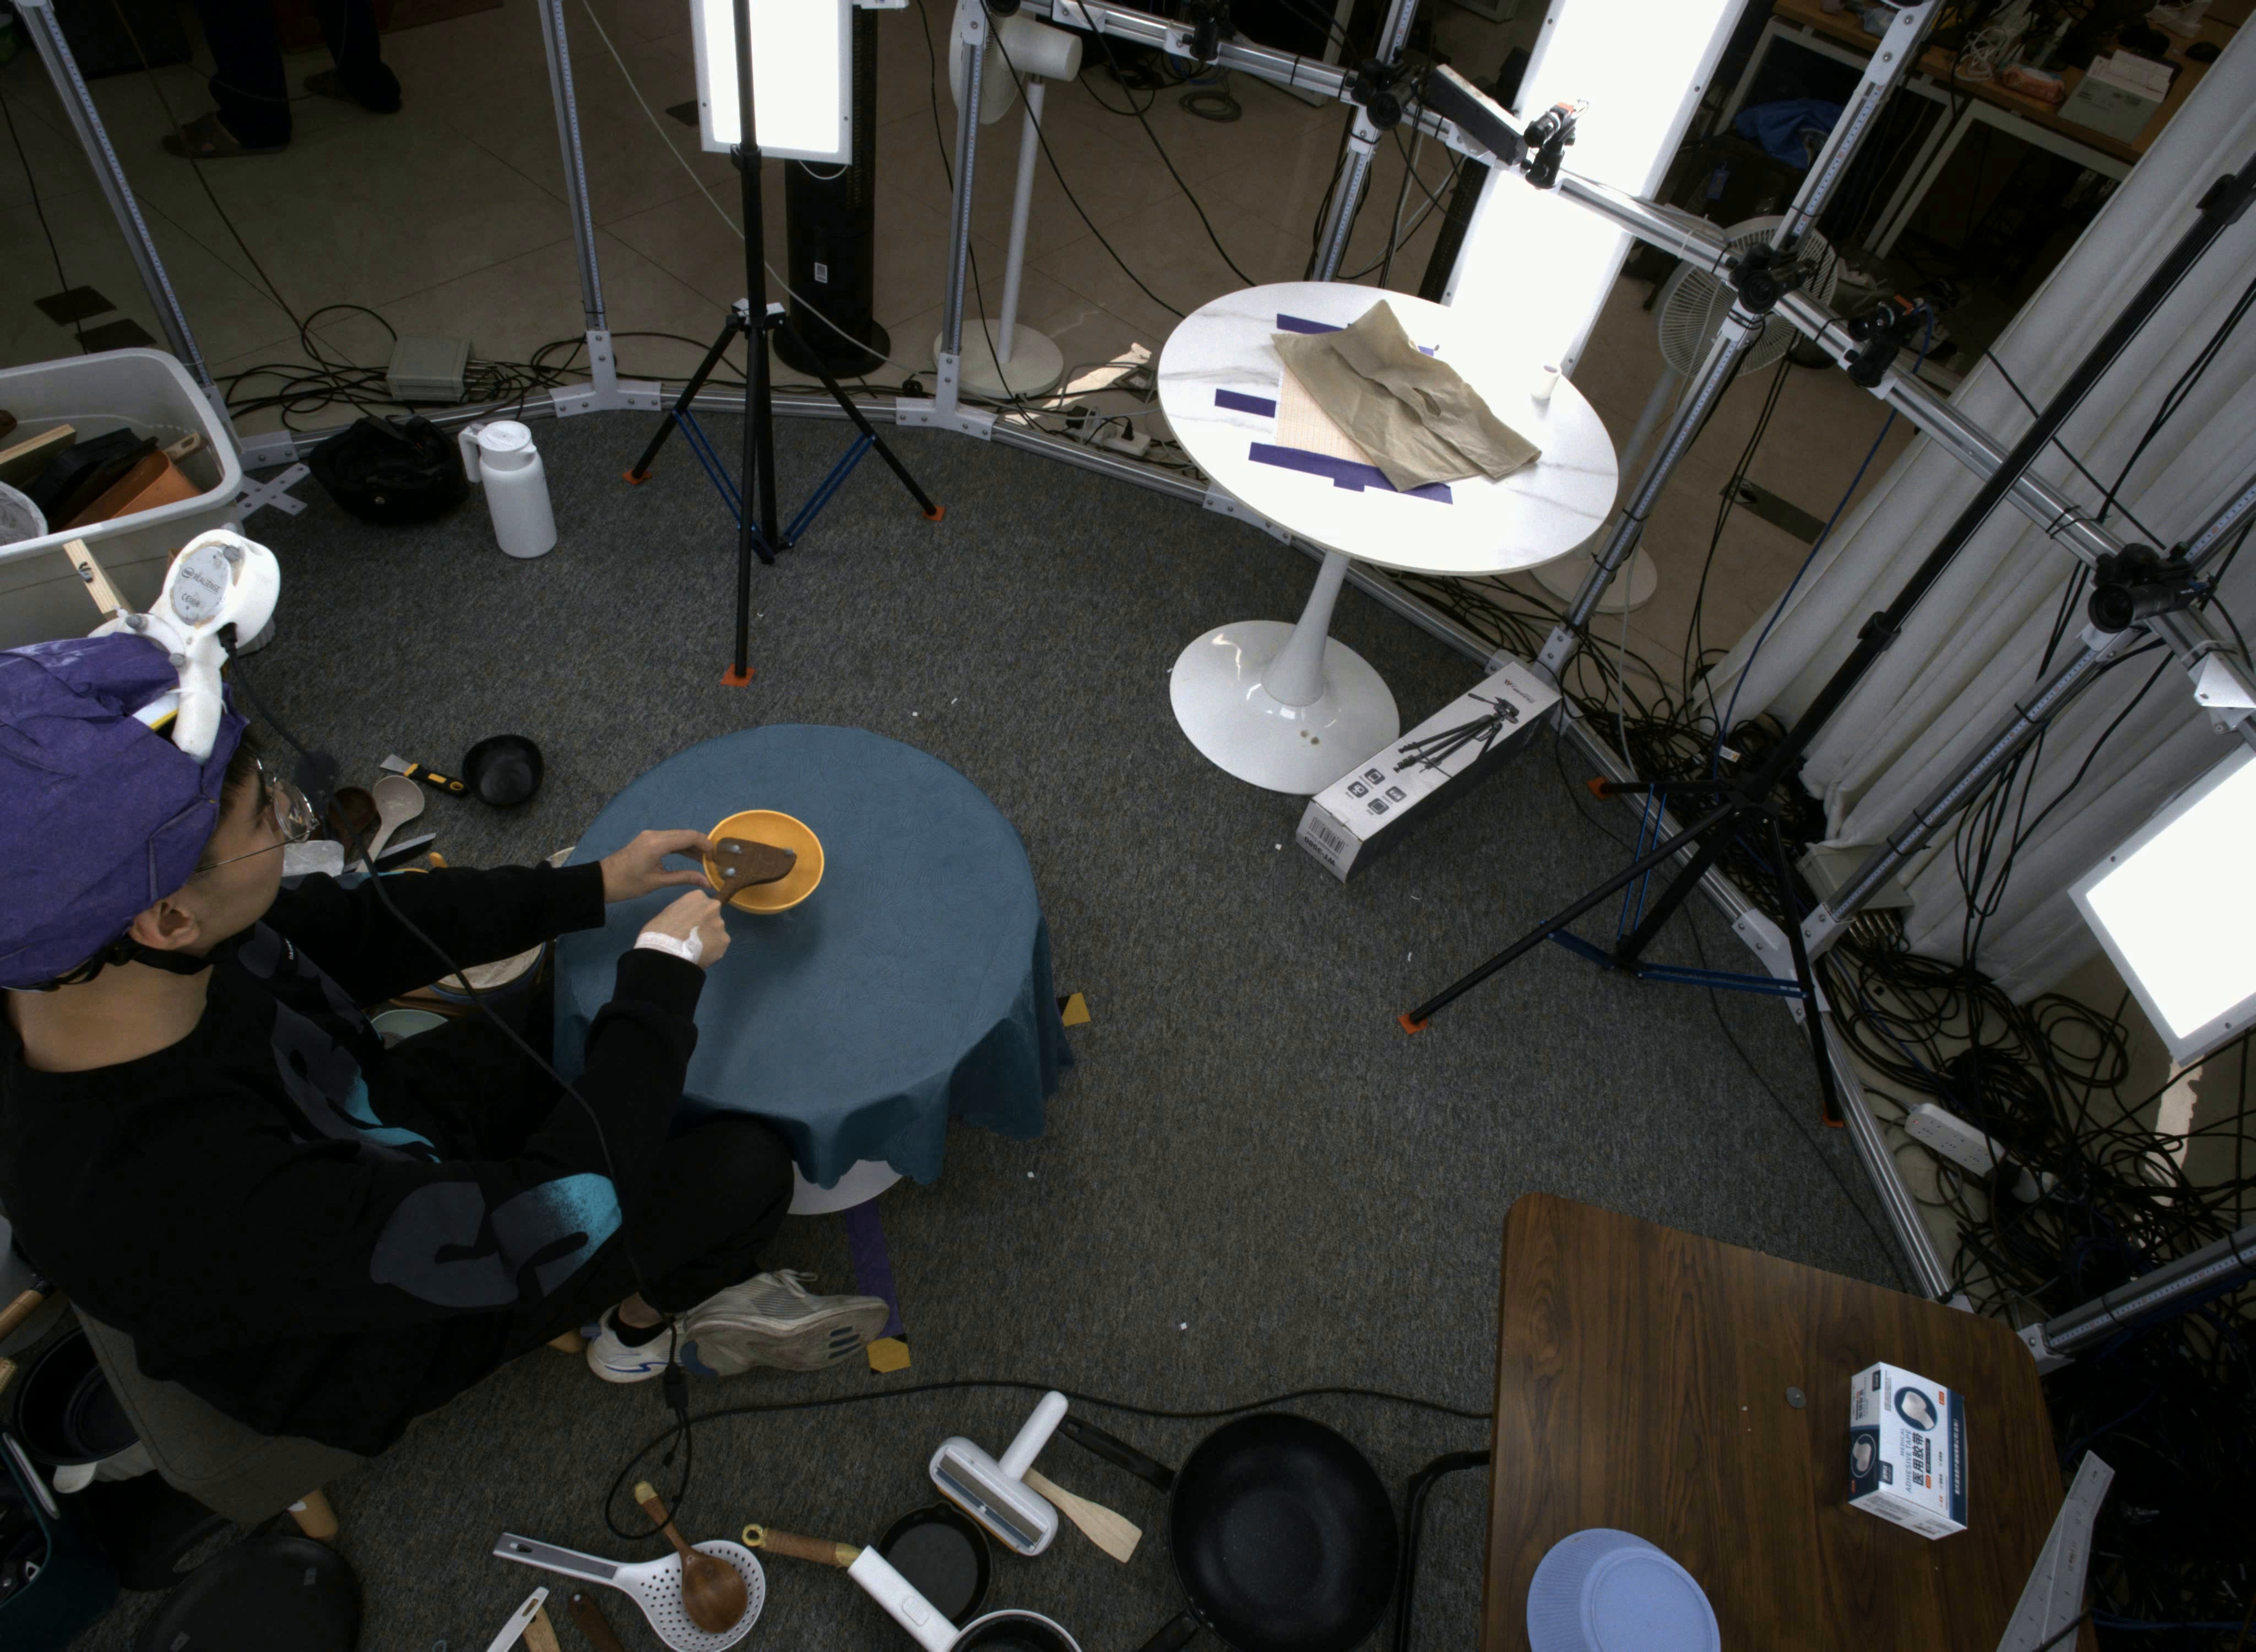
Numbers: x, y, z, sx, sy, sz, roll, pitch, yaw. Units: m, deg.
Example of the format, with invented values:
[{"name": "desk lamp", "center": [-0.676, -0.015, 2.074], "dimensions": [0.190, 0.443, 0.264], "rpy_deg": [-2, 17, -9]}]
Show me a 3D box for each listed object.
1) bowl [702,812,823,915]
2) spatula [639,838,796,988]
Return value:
[{"name": "bowl", "center": [-0.449, 0.056, 1.592], "dimensions": [0.146, 0.061, 0.143], "rpy_deg": [11, 51, -13]}, {"name": "spatula", "center": [-0.453, 0.085, 1.405], "dimensions": [0.095, 0.016, 0.380], "rpy_deg": [15, 18, -3]}]
